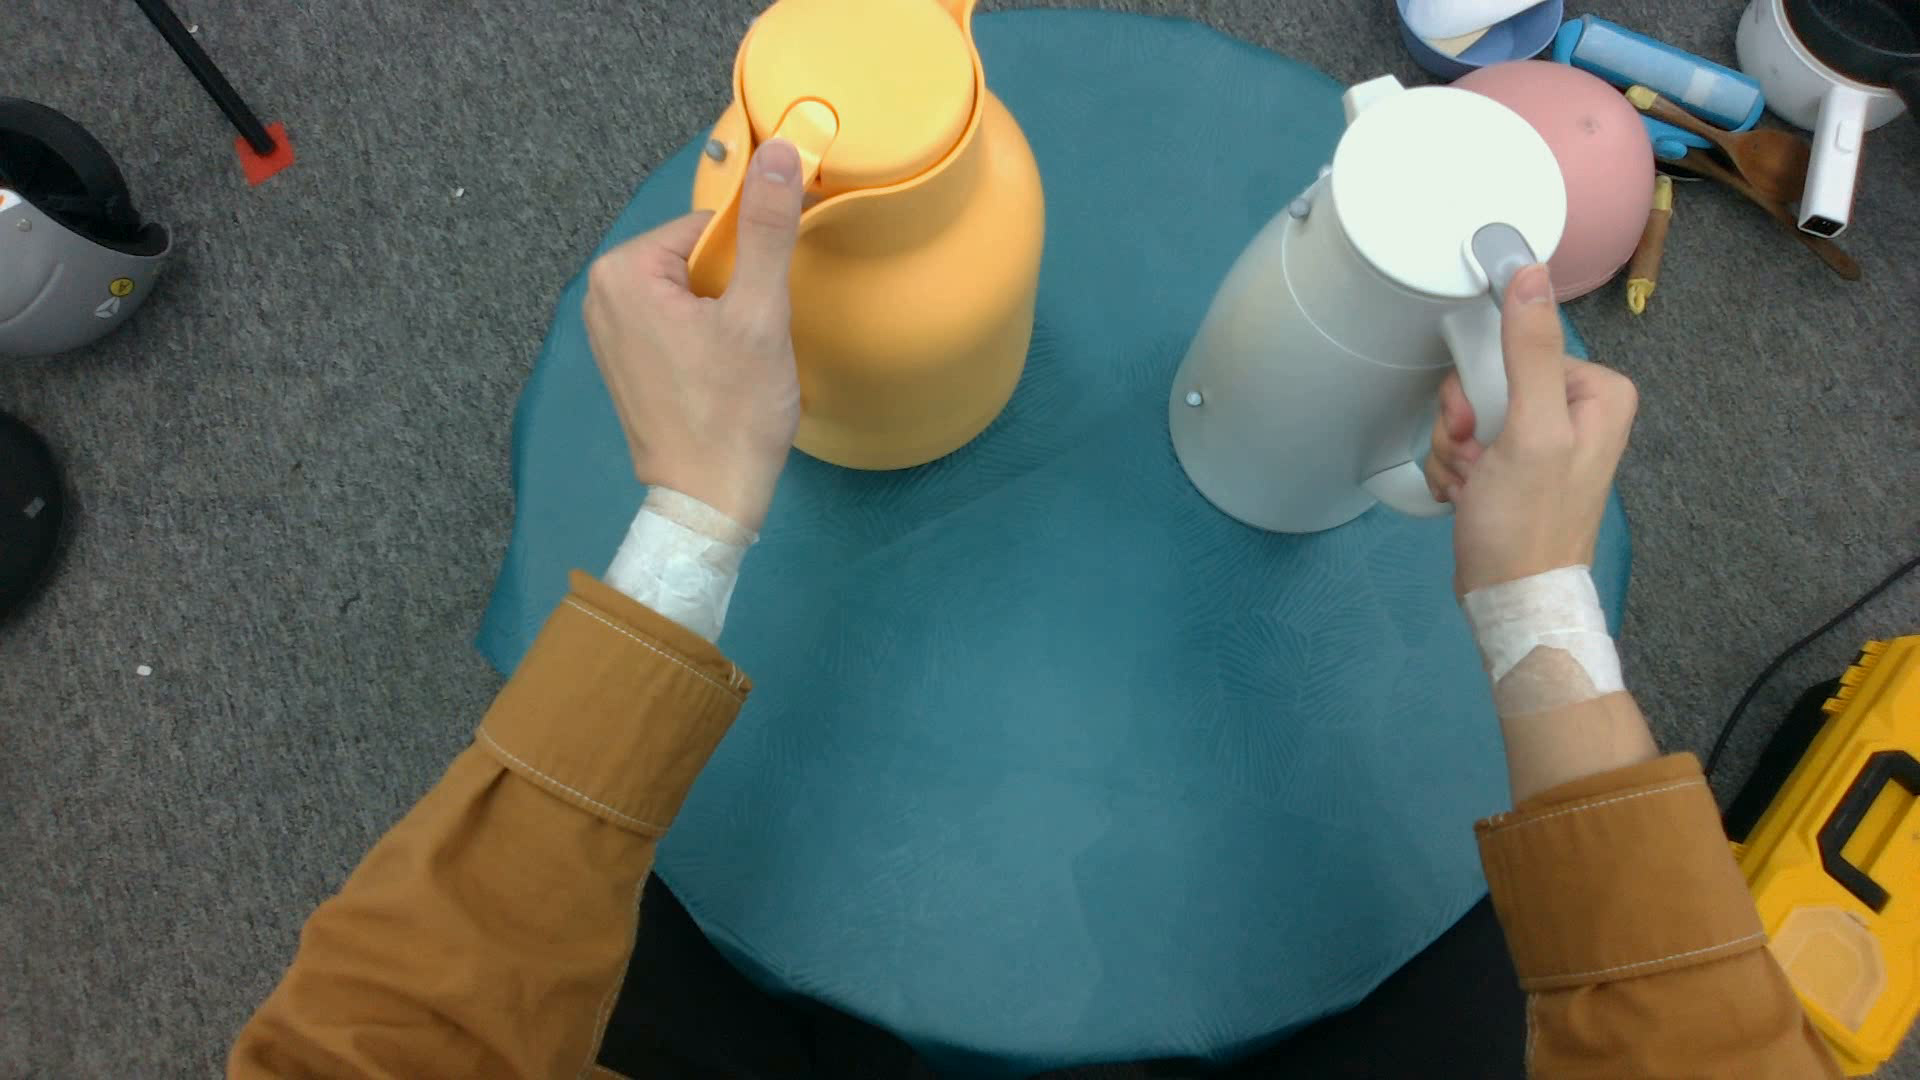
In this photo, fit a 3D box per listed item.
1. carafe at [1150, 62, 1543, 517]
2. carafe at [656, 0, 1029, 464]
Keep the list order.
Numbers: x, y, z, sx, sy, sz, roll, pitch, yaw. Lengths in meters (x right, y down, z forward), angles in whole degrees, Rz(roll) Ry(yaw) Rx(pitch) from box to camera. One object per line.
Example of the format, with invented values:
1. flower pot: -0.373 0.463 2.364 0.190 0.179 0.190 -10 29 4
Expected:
1. carafe: 0.185 -0.093 0.643 0.133 0.248 0.168 -20 76 -9
2. carafe: -0.061 -0.133 0.636 0.163 0.259 0.203 33 73 9
